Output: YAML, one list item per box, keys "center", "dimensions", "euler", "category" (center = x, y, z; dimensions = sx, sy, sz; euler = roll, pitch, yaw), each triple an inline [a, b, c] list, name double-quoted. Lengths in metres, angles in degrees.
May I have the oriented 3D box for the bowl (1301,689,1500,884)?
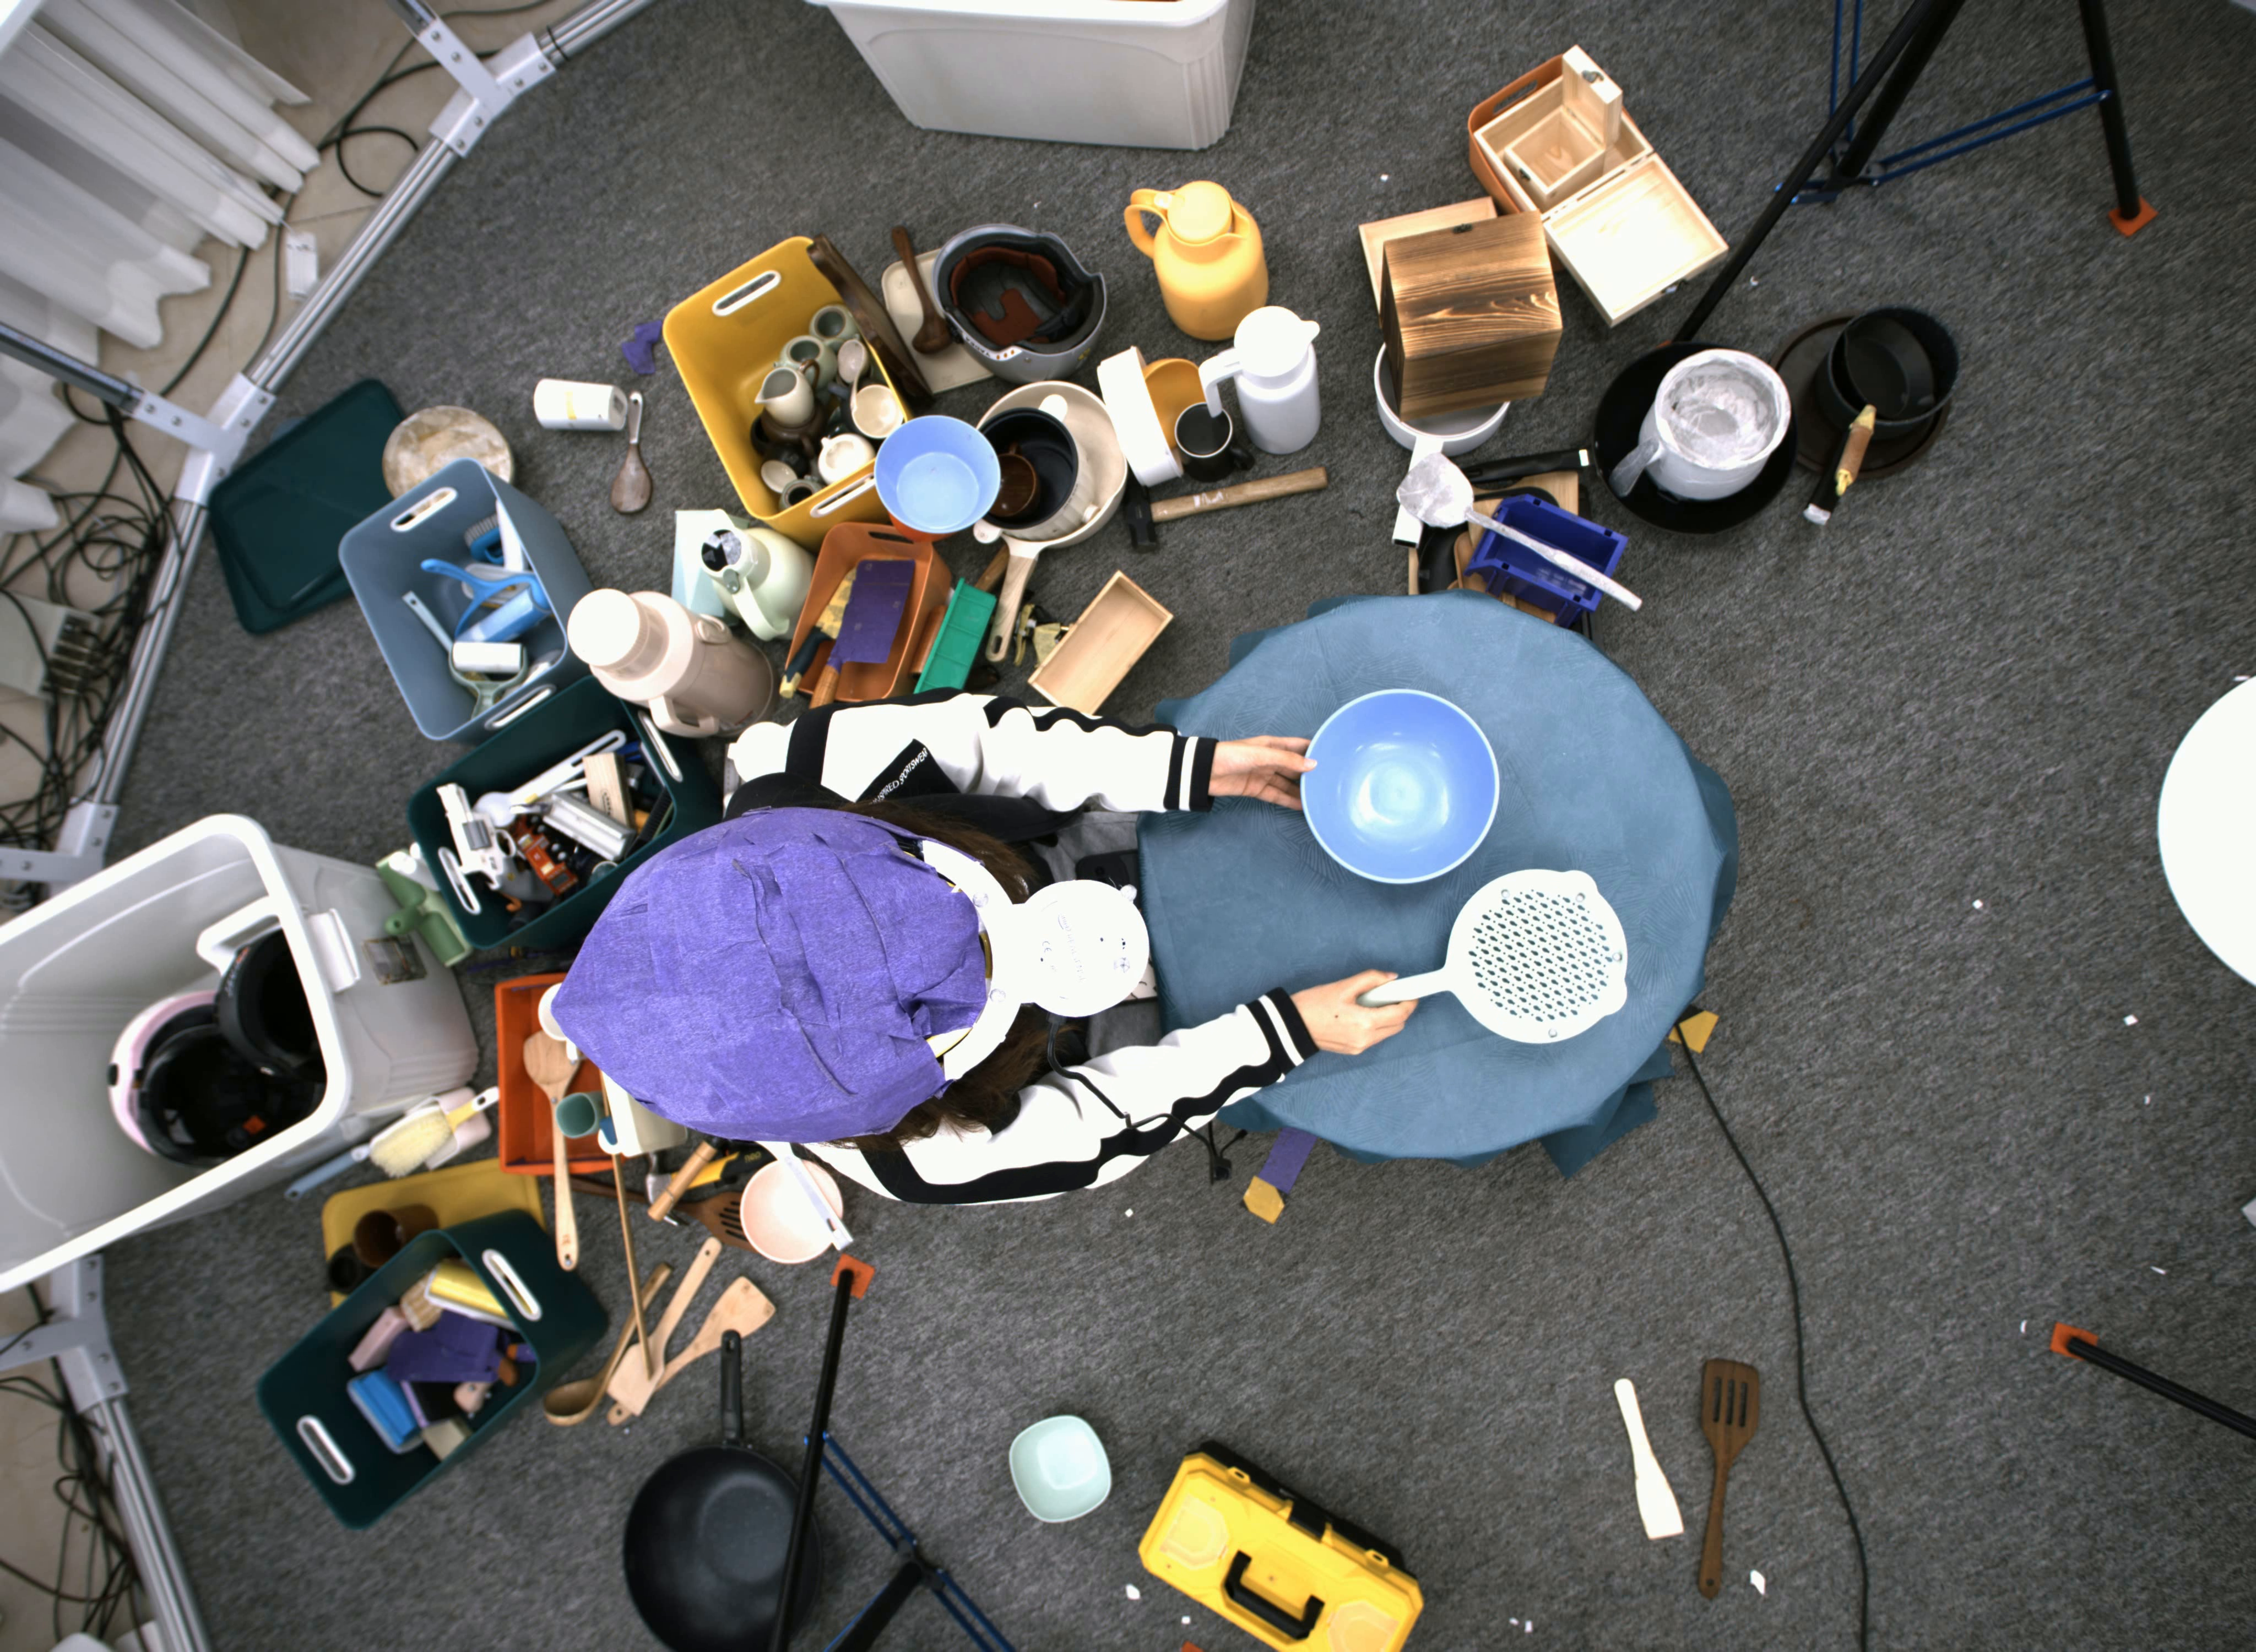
- center: [0.279, -0.037, 1.417]
  dimensions: [0.197, 0.095, 0.196]
  euler: [-1, 87, 11]
  category: "bowl"

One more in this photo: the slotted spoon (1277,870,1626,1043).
- center: [0.317, 0.154, 1.395]
  dimensions: [0.362, 0.075, 0.168]
  euler: [-16, 79, 15]
  category: "slotted spoon"
